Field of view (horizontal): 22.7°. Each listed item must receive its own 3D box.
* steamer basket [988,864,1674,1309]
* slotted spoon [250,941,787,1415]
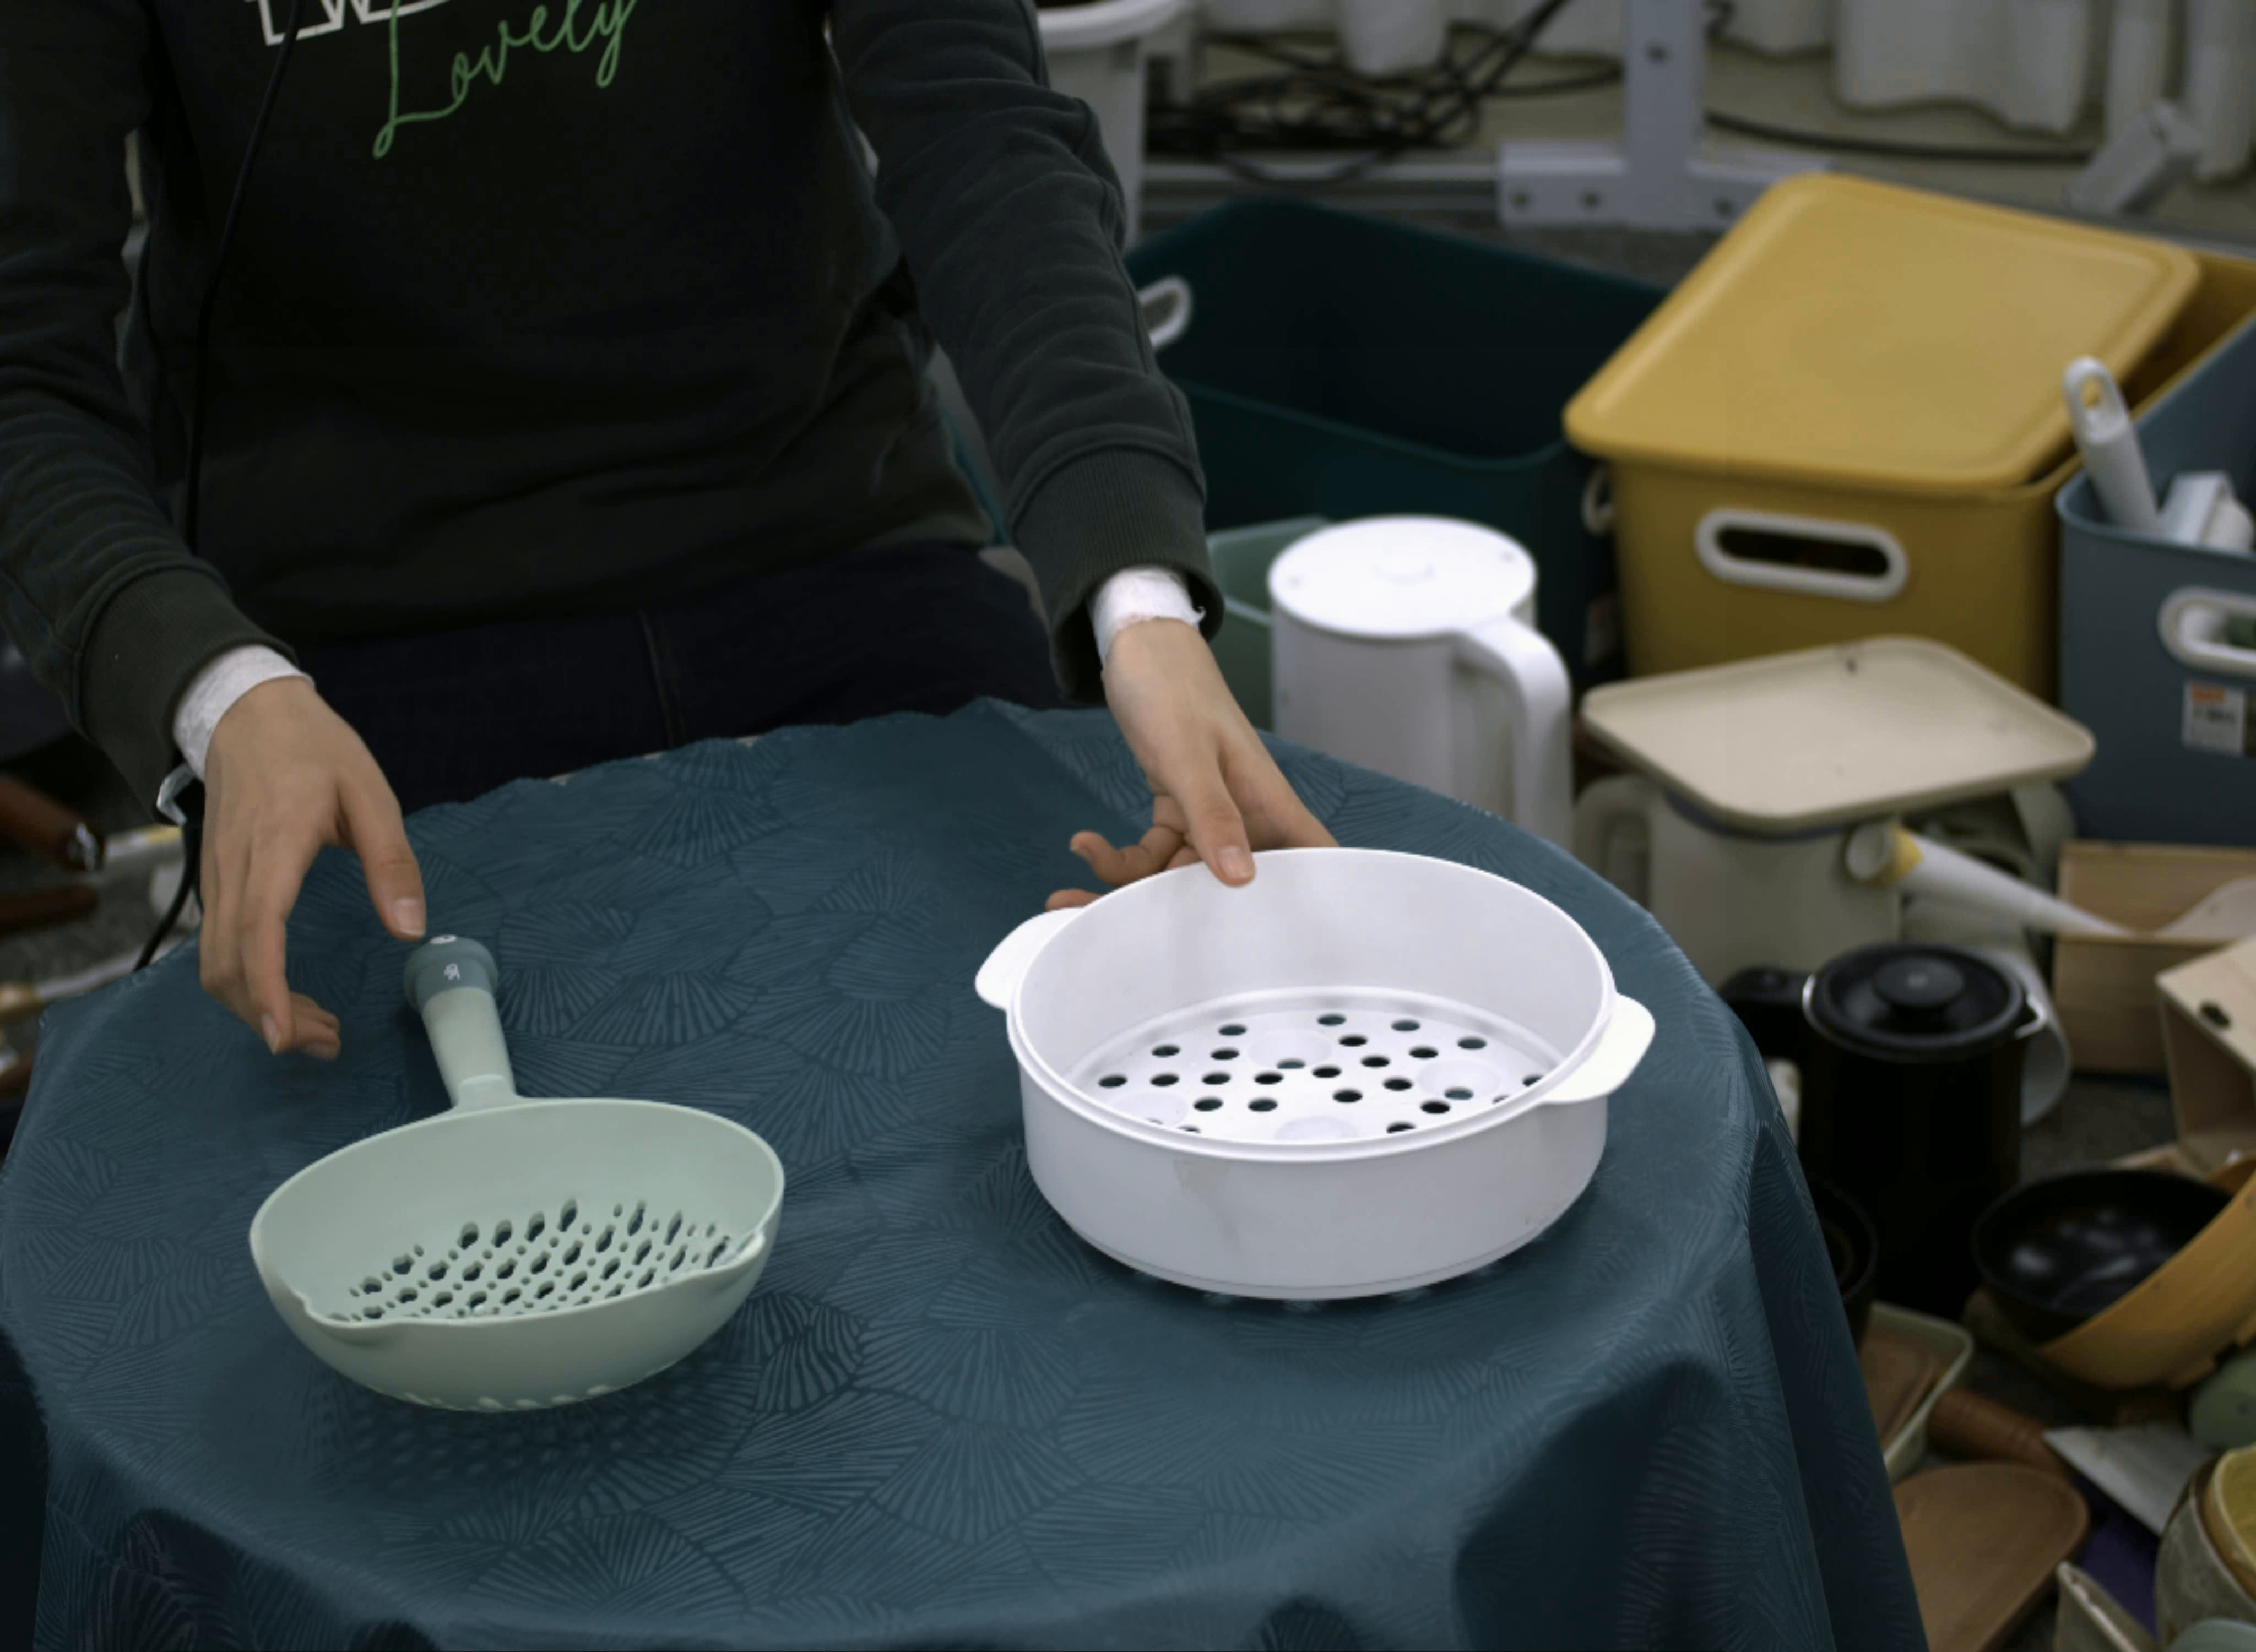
[{"bbox_3d":[0.066,0.086,1.856,0.229,0.068,0.205,7,28,21],"label":"steamer basket"},{"bbox_3d":[-0.209,0.100,1.854,0.169,0.074,0.363,-7,27,-10],"label":"slotted spoon"}]
